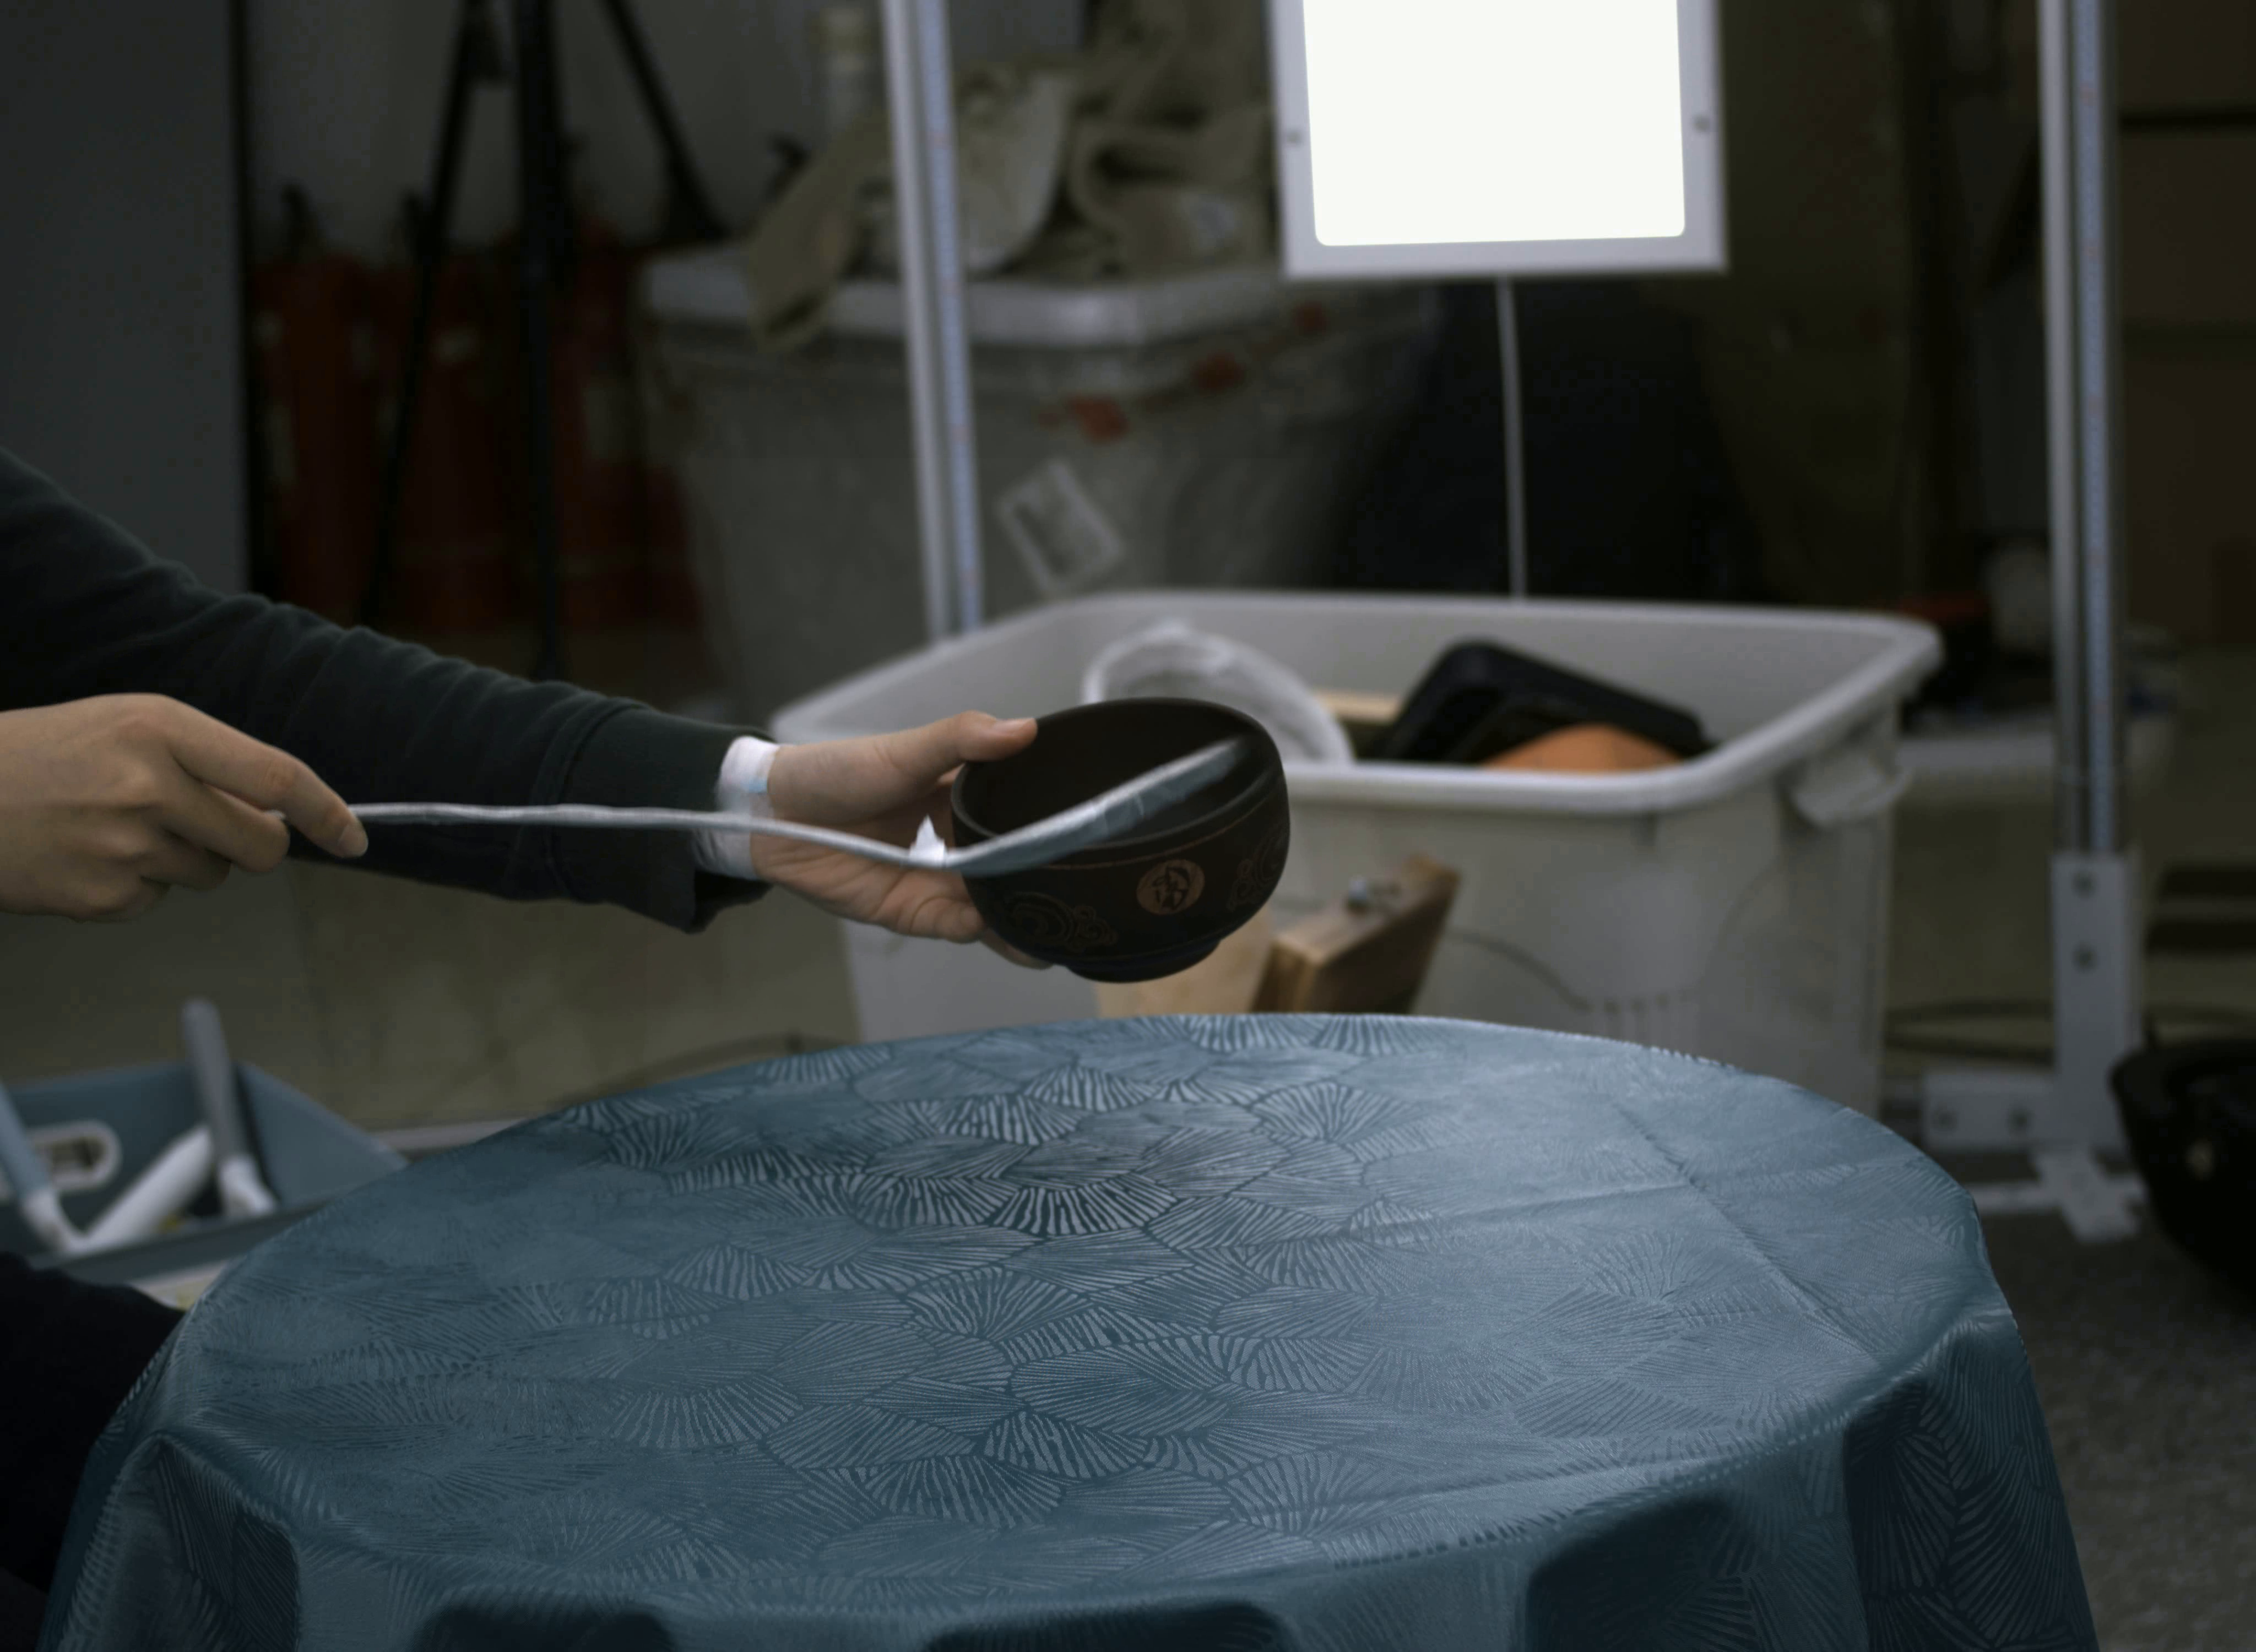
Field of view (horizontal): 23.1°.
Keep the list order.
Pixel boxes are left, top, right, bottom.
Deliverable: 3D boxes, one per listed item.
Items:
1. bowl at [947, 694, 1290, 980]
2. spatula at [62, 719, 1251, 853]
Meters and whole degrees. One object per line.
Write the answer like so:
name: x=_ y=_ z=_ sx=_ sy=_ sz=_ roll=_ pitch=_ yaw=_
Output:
bowl: x=-0.001 y=0.010 z=1.898 sx=0.118 sy=0.070 sz=0.118 roll=-9 pitch=25 yaw=3
spatula: x=-0.144 y=-0.012 z=1.677 sx=0.364 sy=0.045 sz=0.098 roll=1 pitch=4 yaw=1
